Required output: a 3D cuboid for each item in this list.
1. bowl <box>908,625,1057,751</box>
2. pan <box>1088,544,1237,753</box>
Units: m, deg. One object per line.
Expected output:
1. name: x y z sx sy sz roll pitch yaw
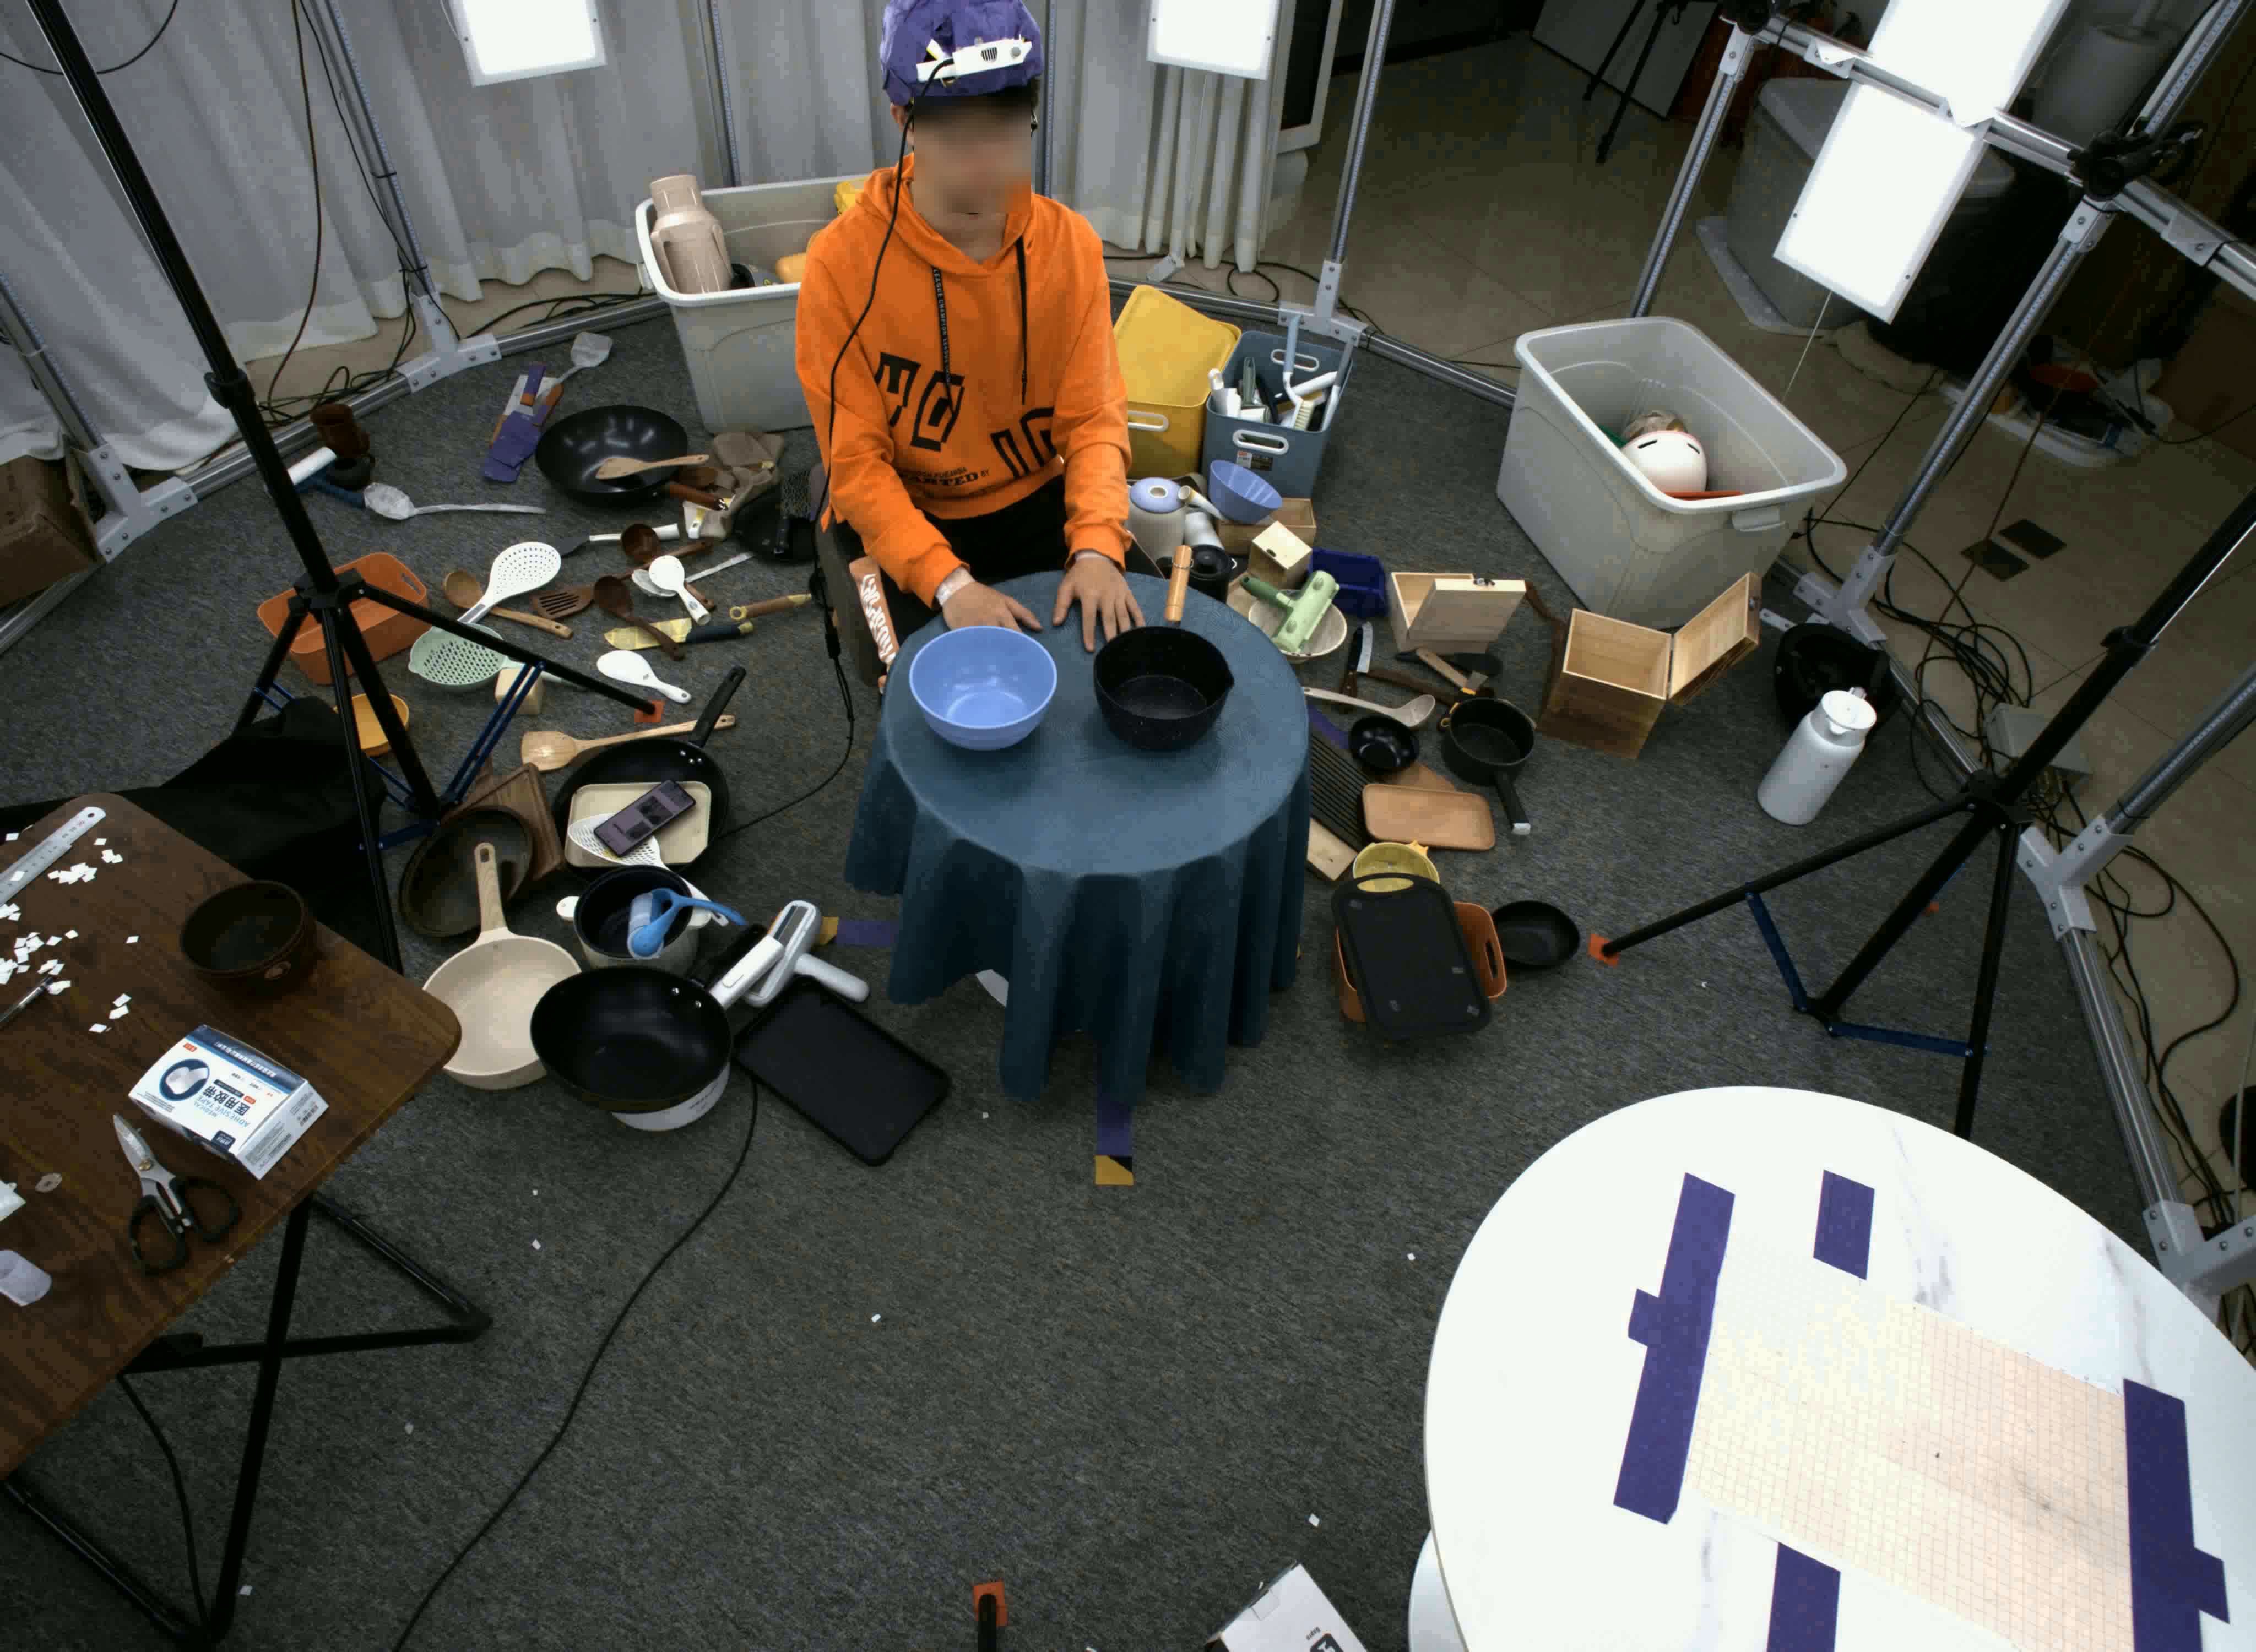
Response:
1. bowl: -0.195 -0.172 1.743 0.196 0.093 0.201 1 50 -2
2. pan: 0.055 -0.253 1.822 0.207 0.105 0.351 7 50 3
